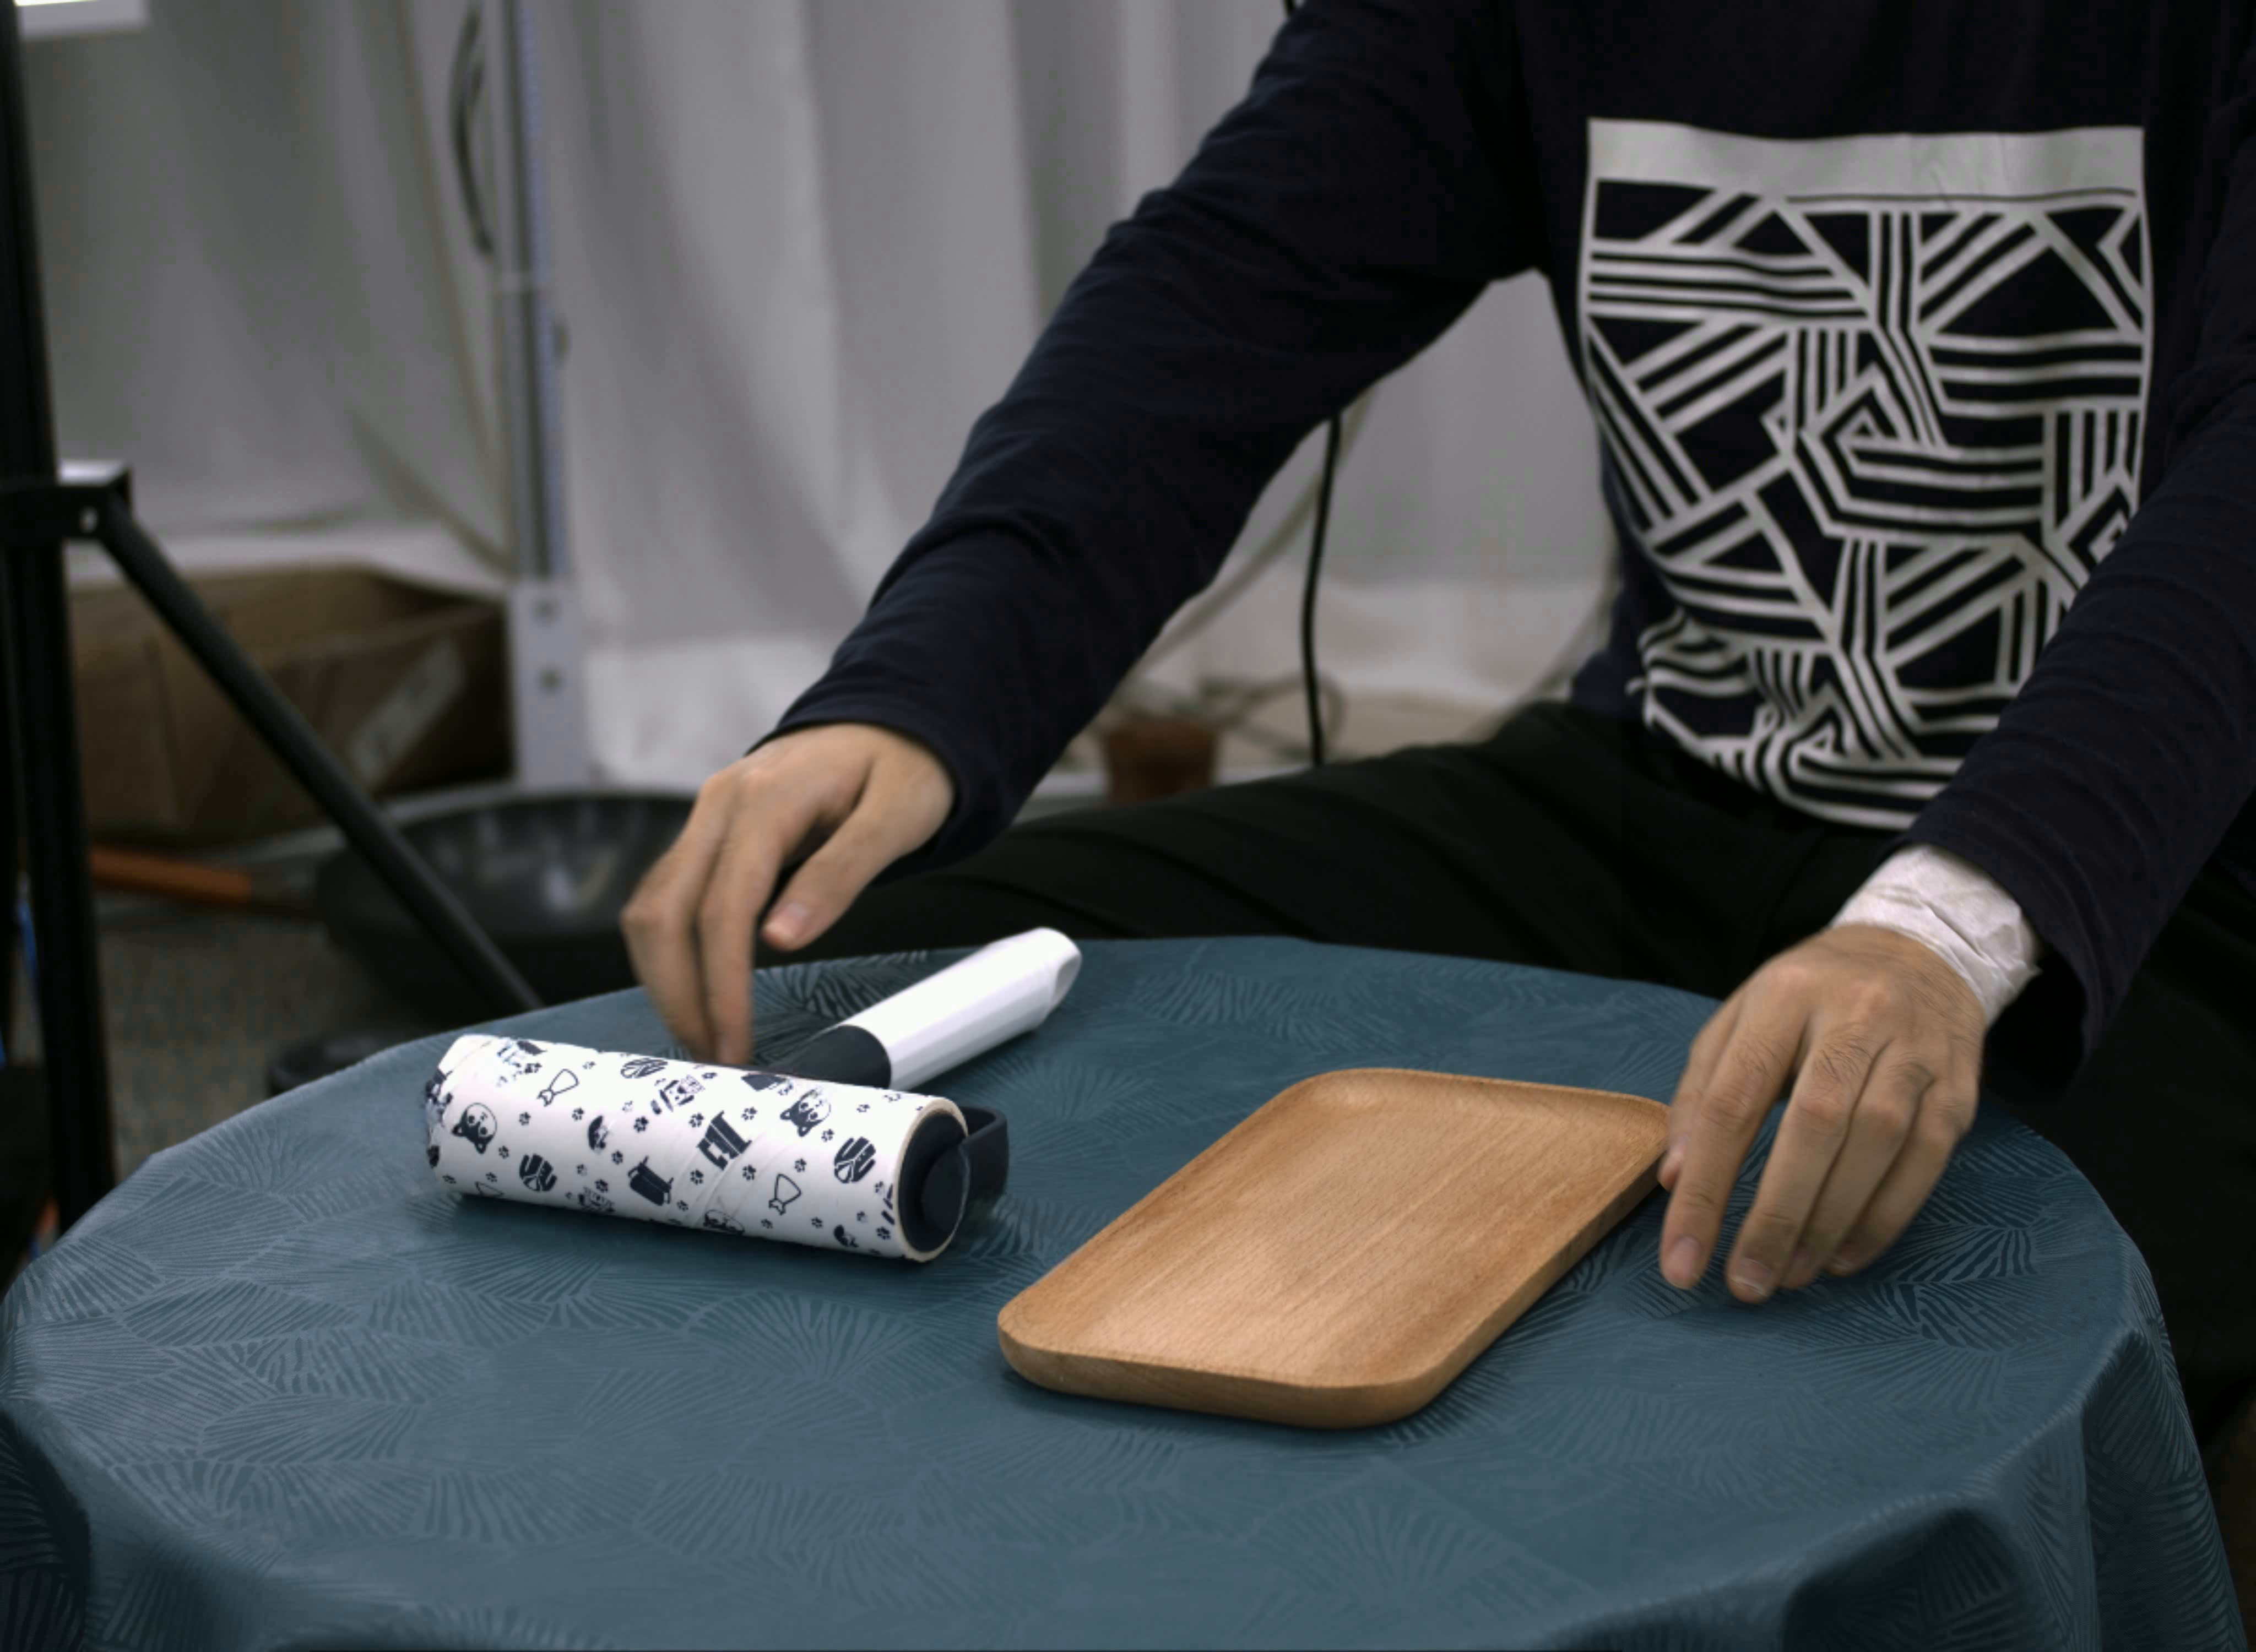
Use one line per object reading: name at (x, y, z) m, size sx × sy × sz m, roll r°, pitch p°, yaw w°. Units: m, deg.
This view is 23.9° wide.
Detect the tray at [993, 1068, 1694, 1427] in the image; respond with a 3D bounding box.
tray at (0.065, 0.116, 1.495) m, size 0.132 × 0.023 × 0.246 m, roll 9°, pitch 18°, yaw 25°

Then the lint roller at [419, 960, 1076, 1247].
lint roller at (-0.081, 0.070, 1.635) m, size 0.179 × 0.050 × 0.243 m, roll 5°, pitch 15°, yaw 27°
